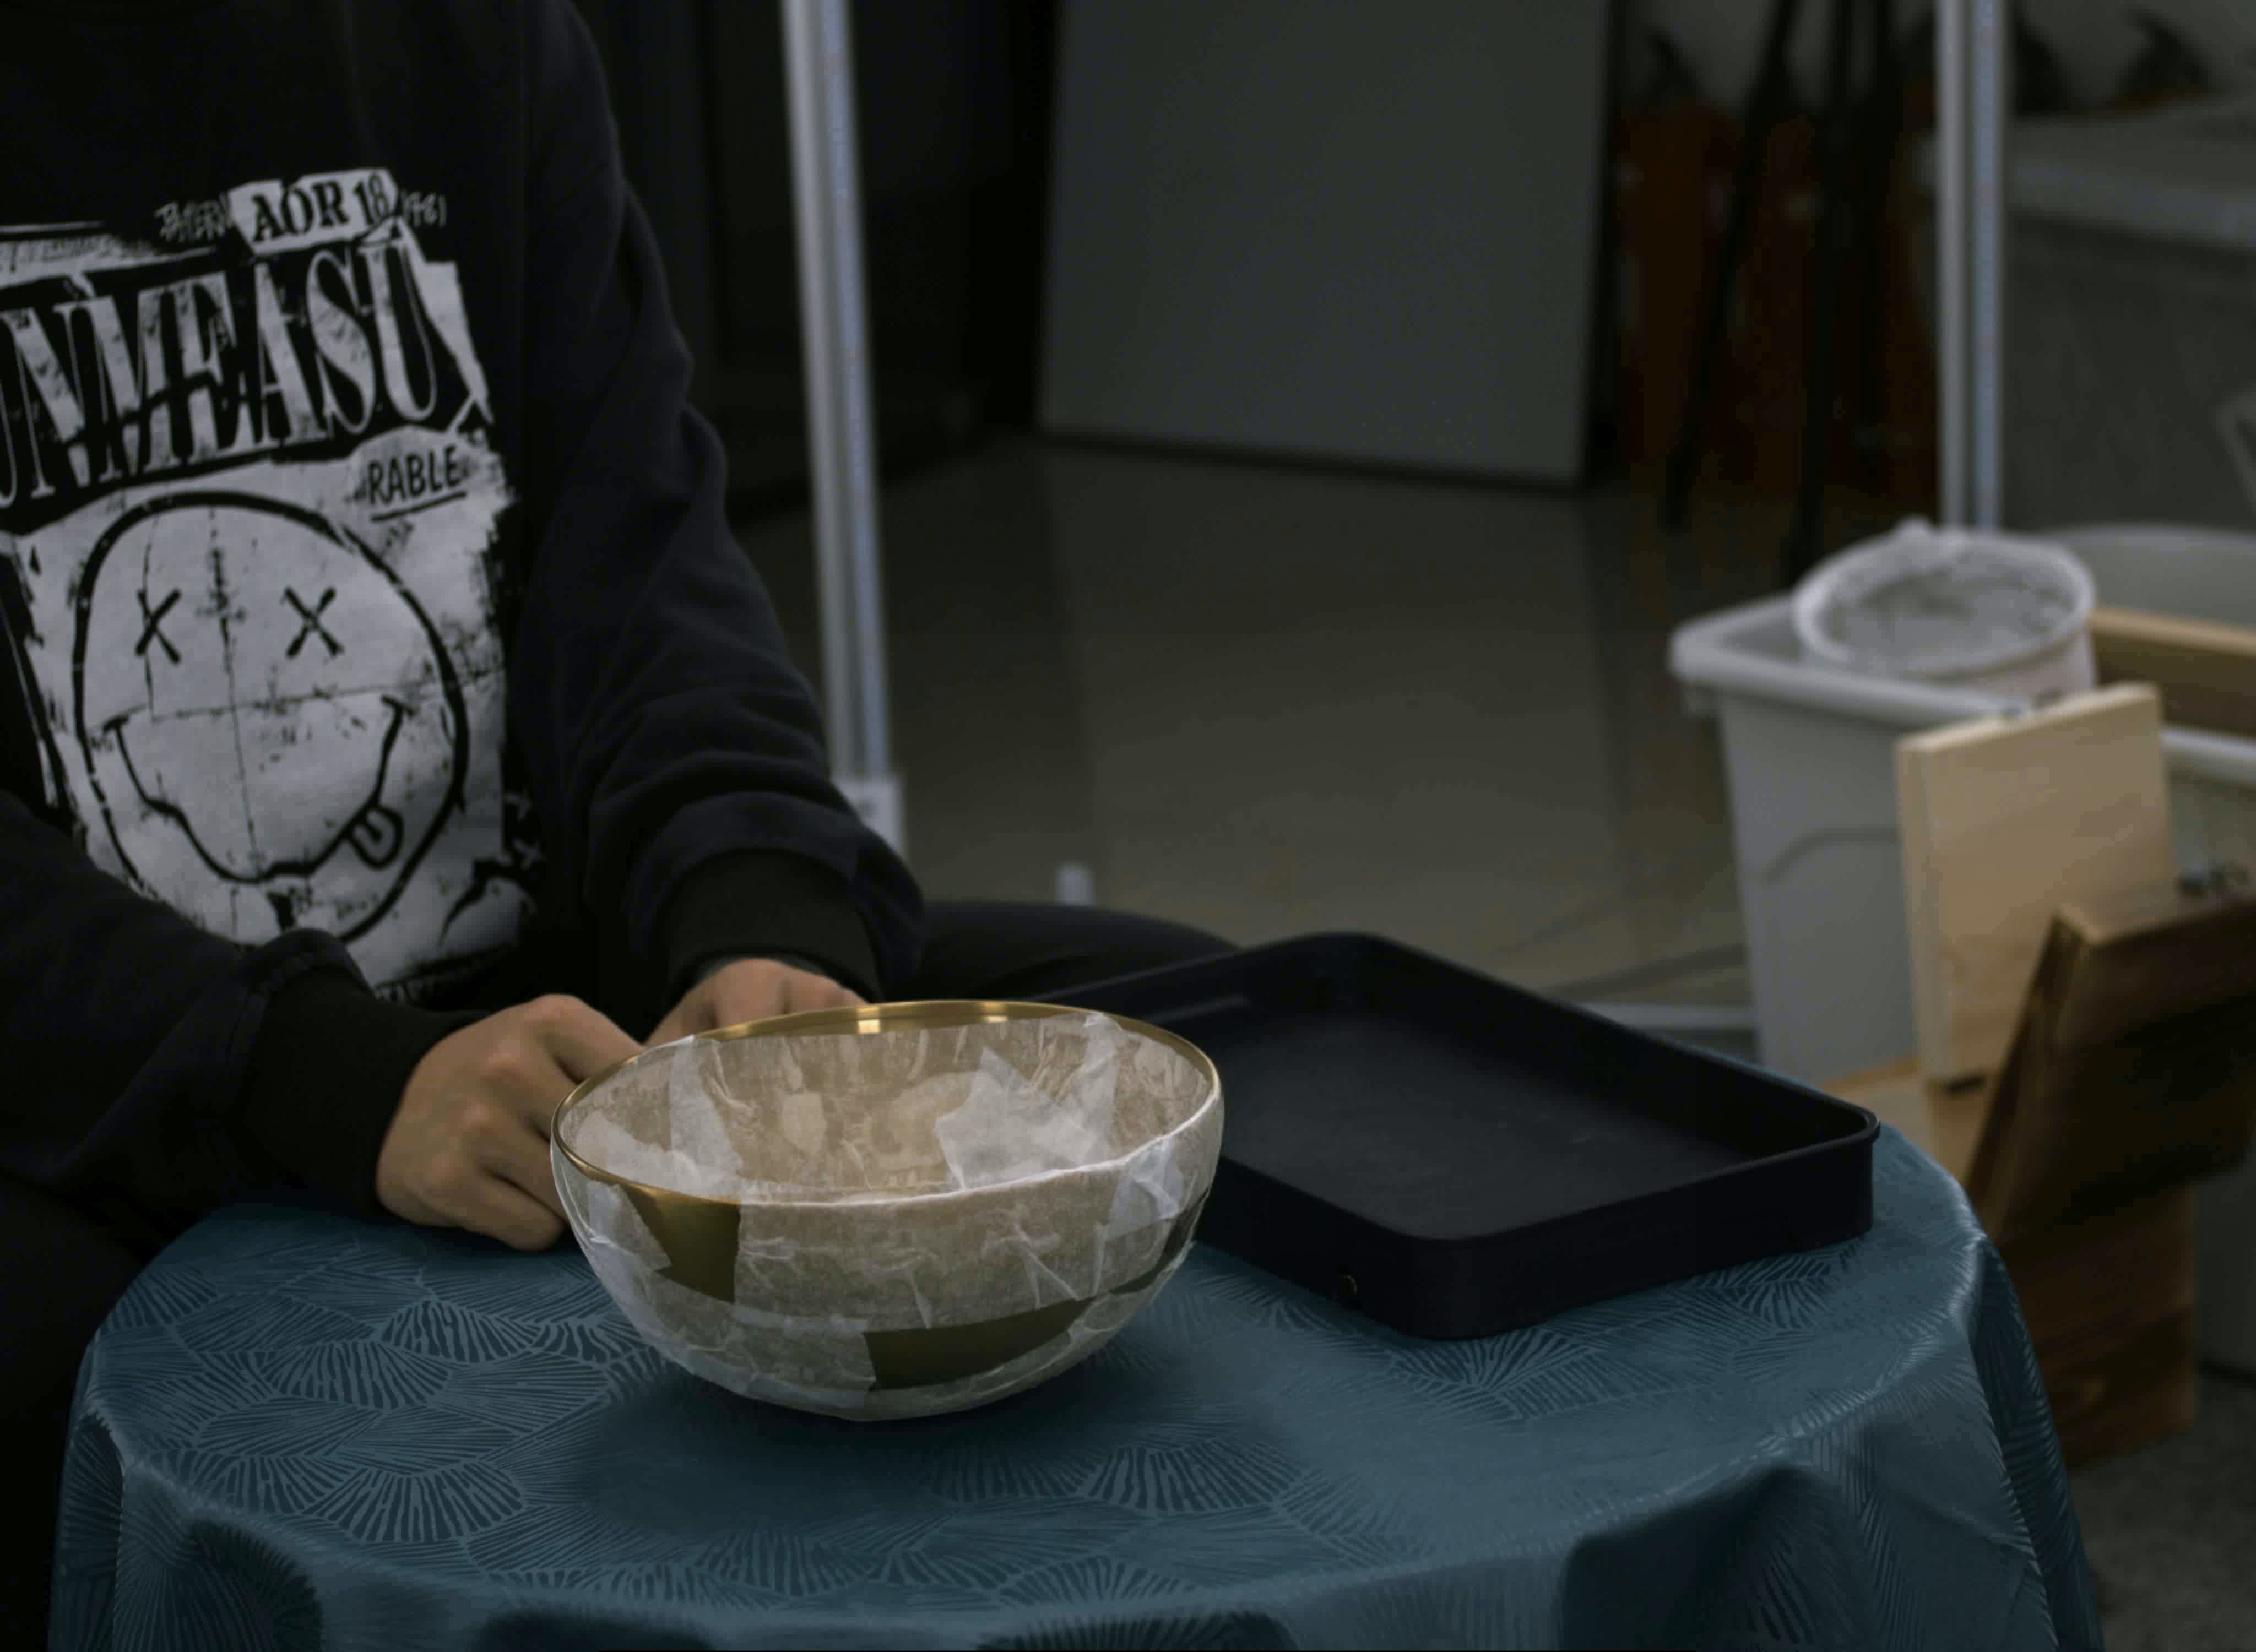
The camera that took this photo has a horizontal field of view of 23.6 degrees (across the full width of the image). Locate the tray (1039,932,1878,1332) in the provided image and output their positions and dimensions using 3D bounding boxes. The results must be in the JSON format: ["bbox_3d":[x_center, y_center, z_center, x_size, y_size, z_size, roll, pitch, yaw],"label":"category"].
[{"bbox_3d":[0.087,0.095,1.768,0.180,0.037,0.321,-13,15,-28],"label":"tray"}]

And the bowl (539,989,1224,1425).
[{"bbox_3d":[-0.068,0.120,1.601,0.212,0.095,0.215,-5,15,0],"label":"bowl"}]
